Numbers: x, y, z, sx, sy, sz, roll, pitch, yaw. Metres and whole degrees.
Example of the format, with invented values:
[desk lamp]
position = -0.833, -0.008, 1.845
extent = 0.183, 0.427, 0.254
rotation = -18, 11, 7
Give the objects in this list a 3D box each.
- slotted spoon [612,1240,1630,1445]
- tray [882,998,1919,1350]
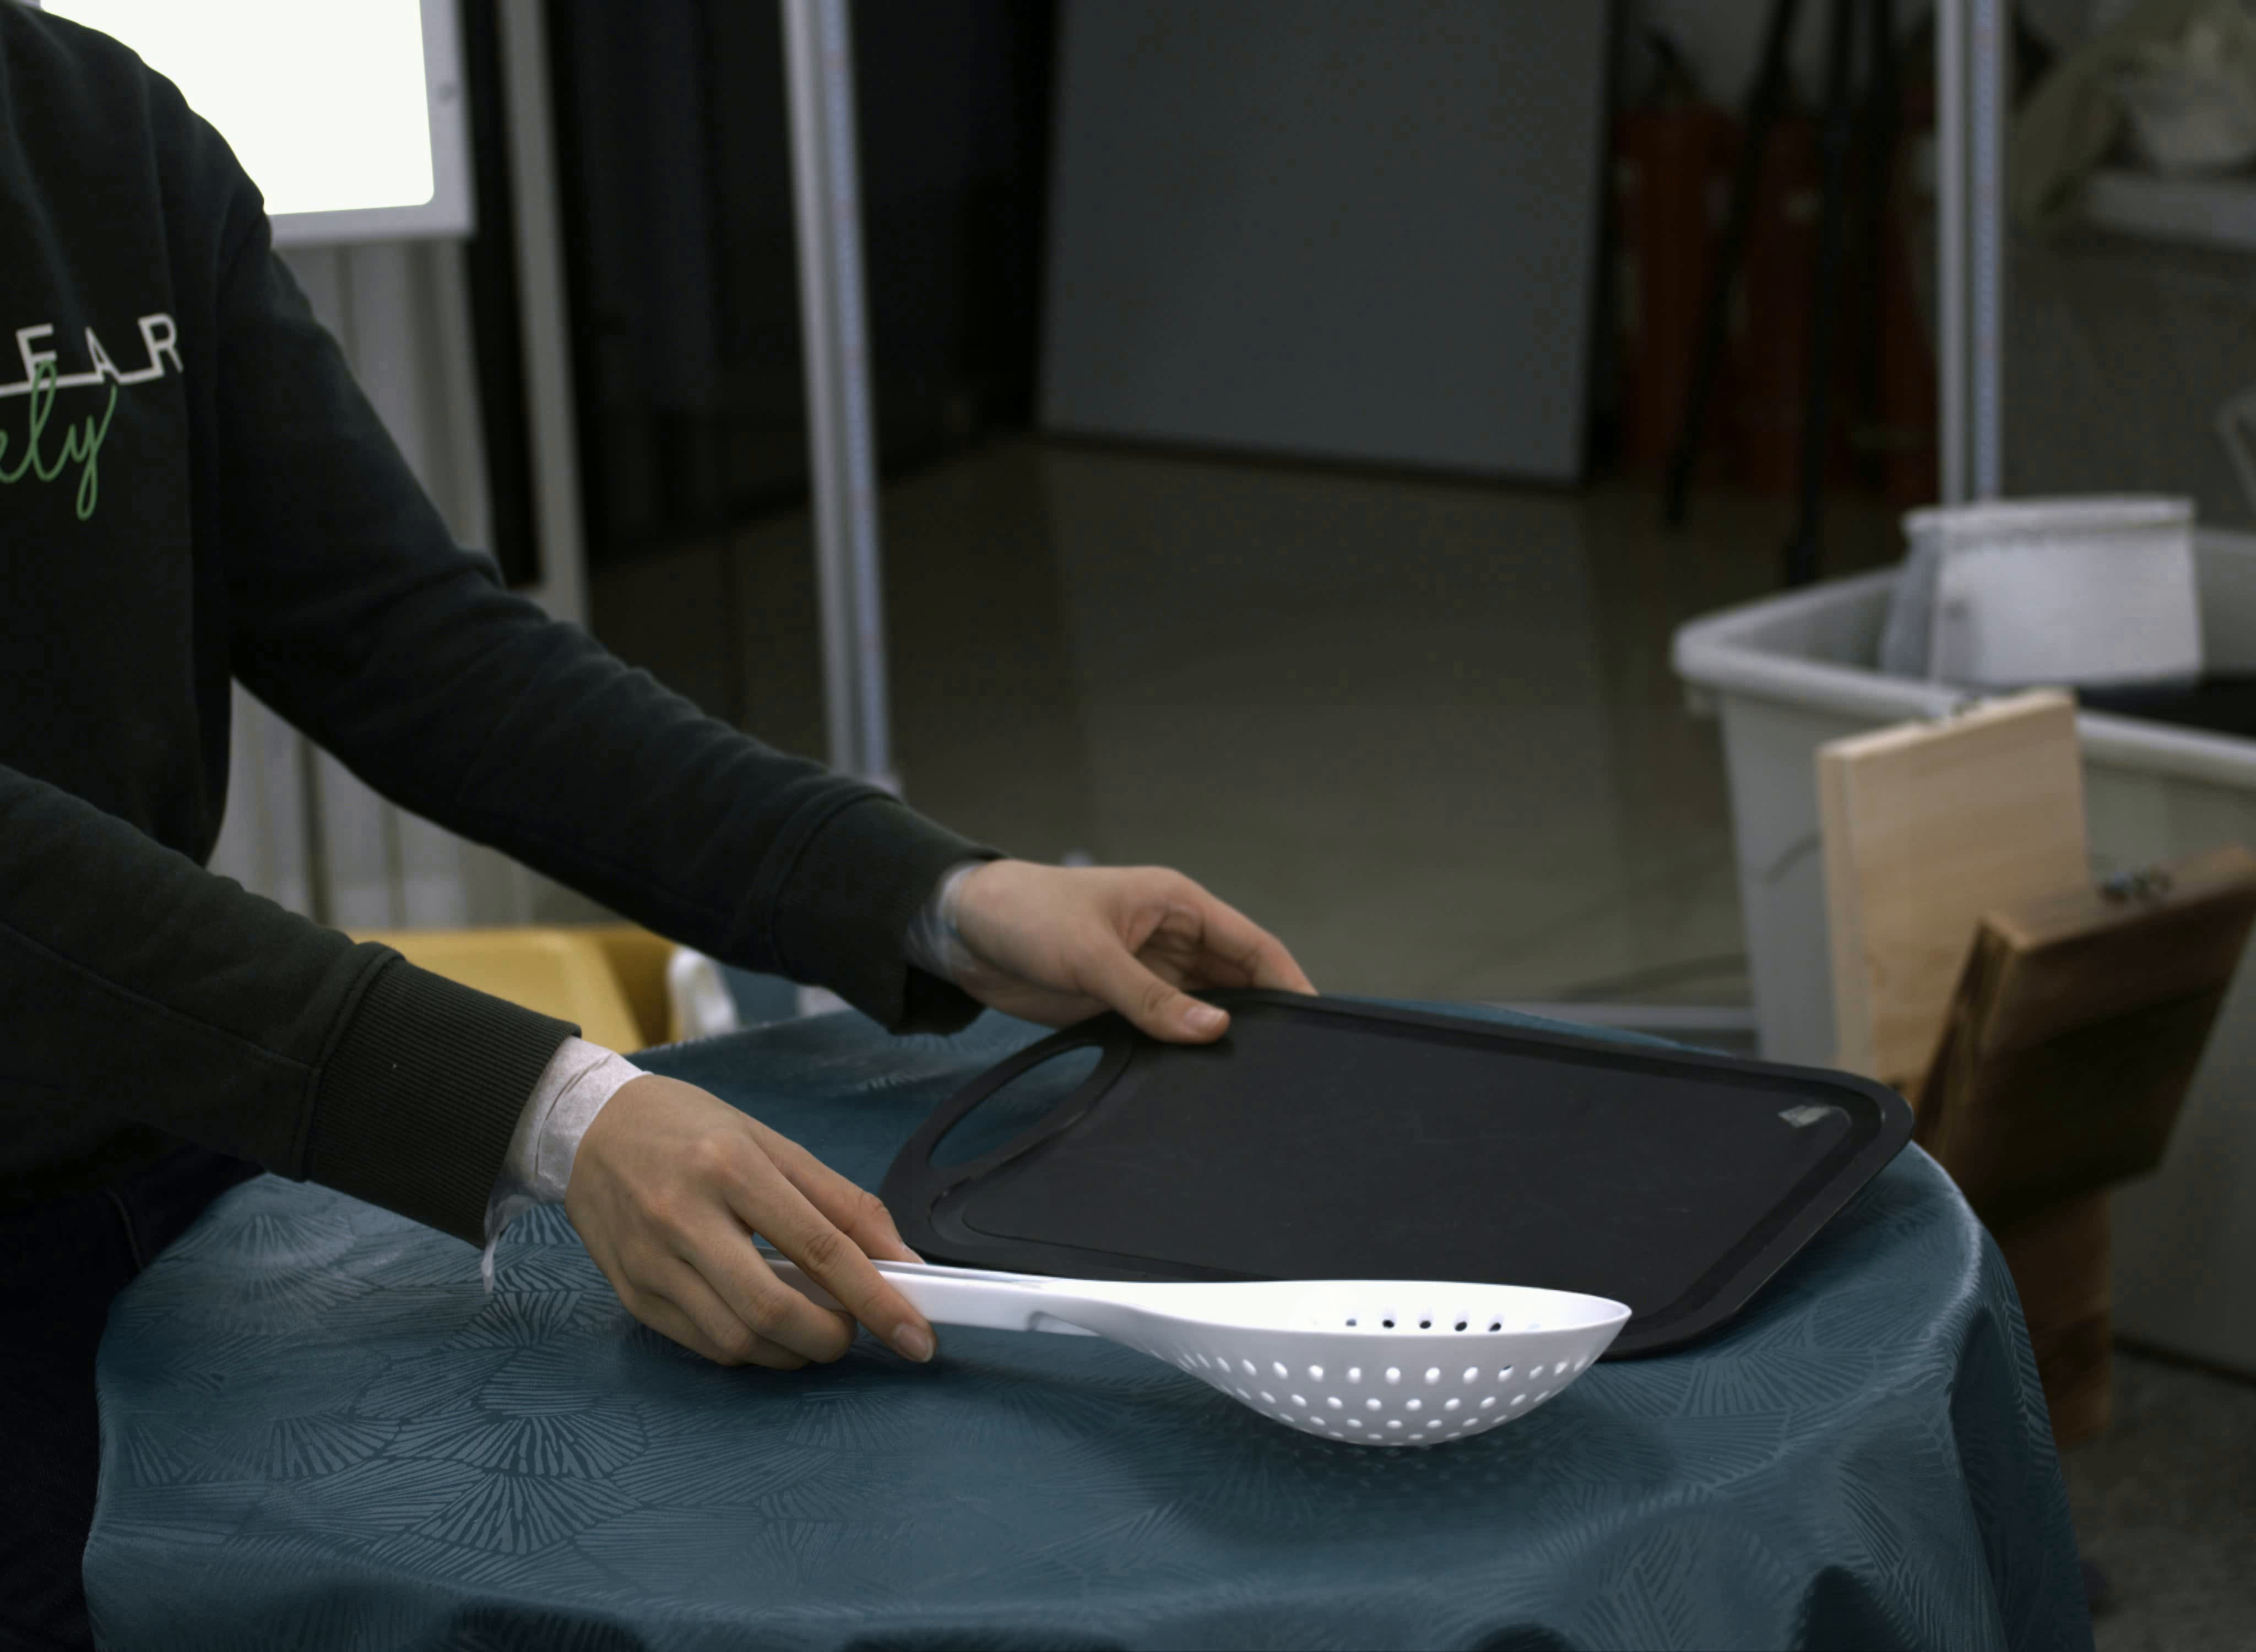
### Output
[slotted spoon]
position = -0.013, 0.140, 1.585
extent = 0.352, 0.046, 0.133
rotation = 7, 4, 36
[tray]
position = 0.079, 0.106, 1.732
extent = 0.327, 0.010, 0.208
rotation = 6, 25, 33
